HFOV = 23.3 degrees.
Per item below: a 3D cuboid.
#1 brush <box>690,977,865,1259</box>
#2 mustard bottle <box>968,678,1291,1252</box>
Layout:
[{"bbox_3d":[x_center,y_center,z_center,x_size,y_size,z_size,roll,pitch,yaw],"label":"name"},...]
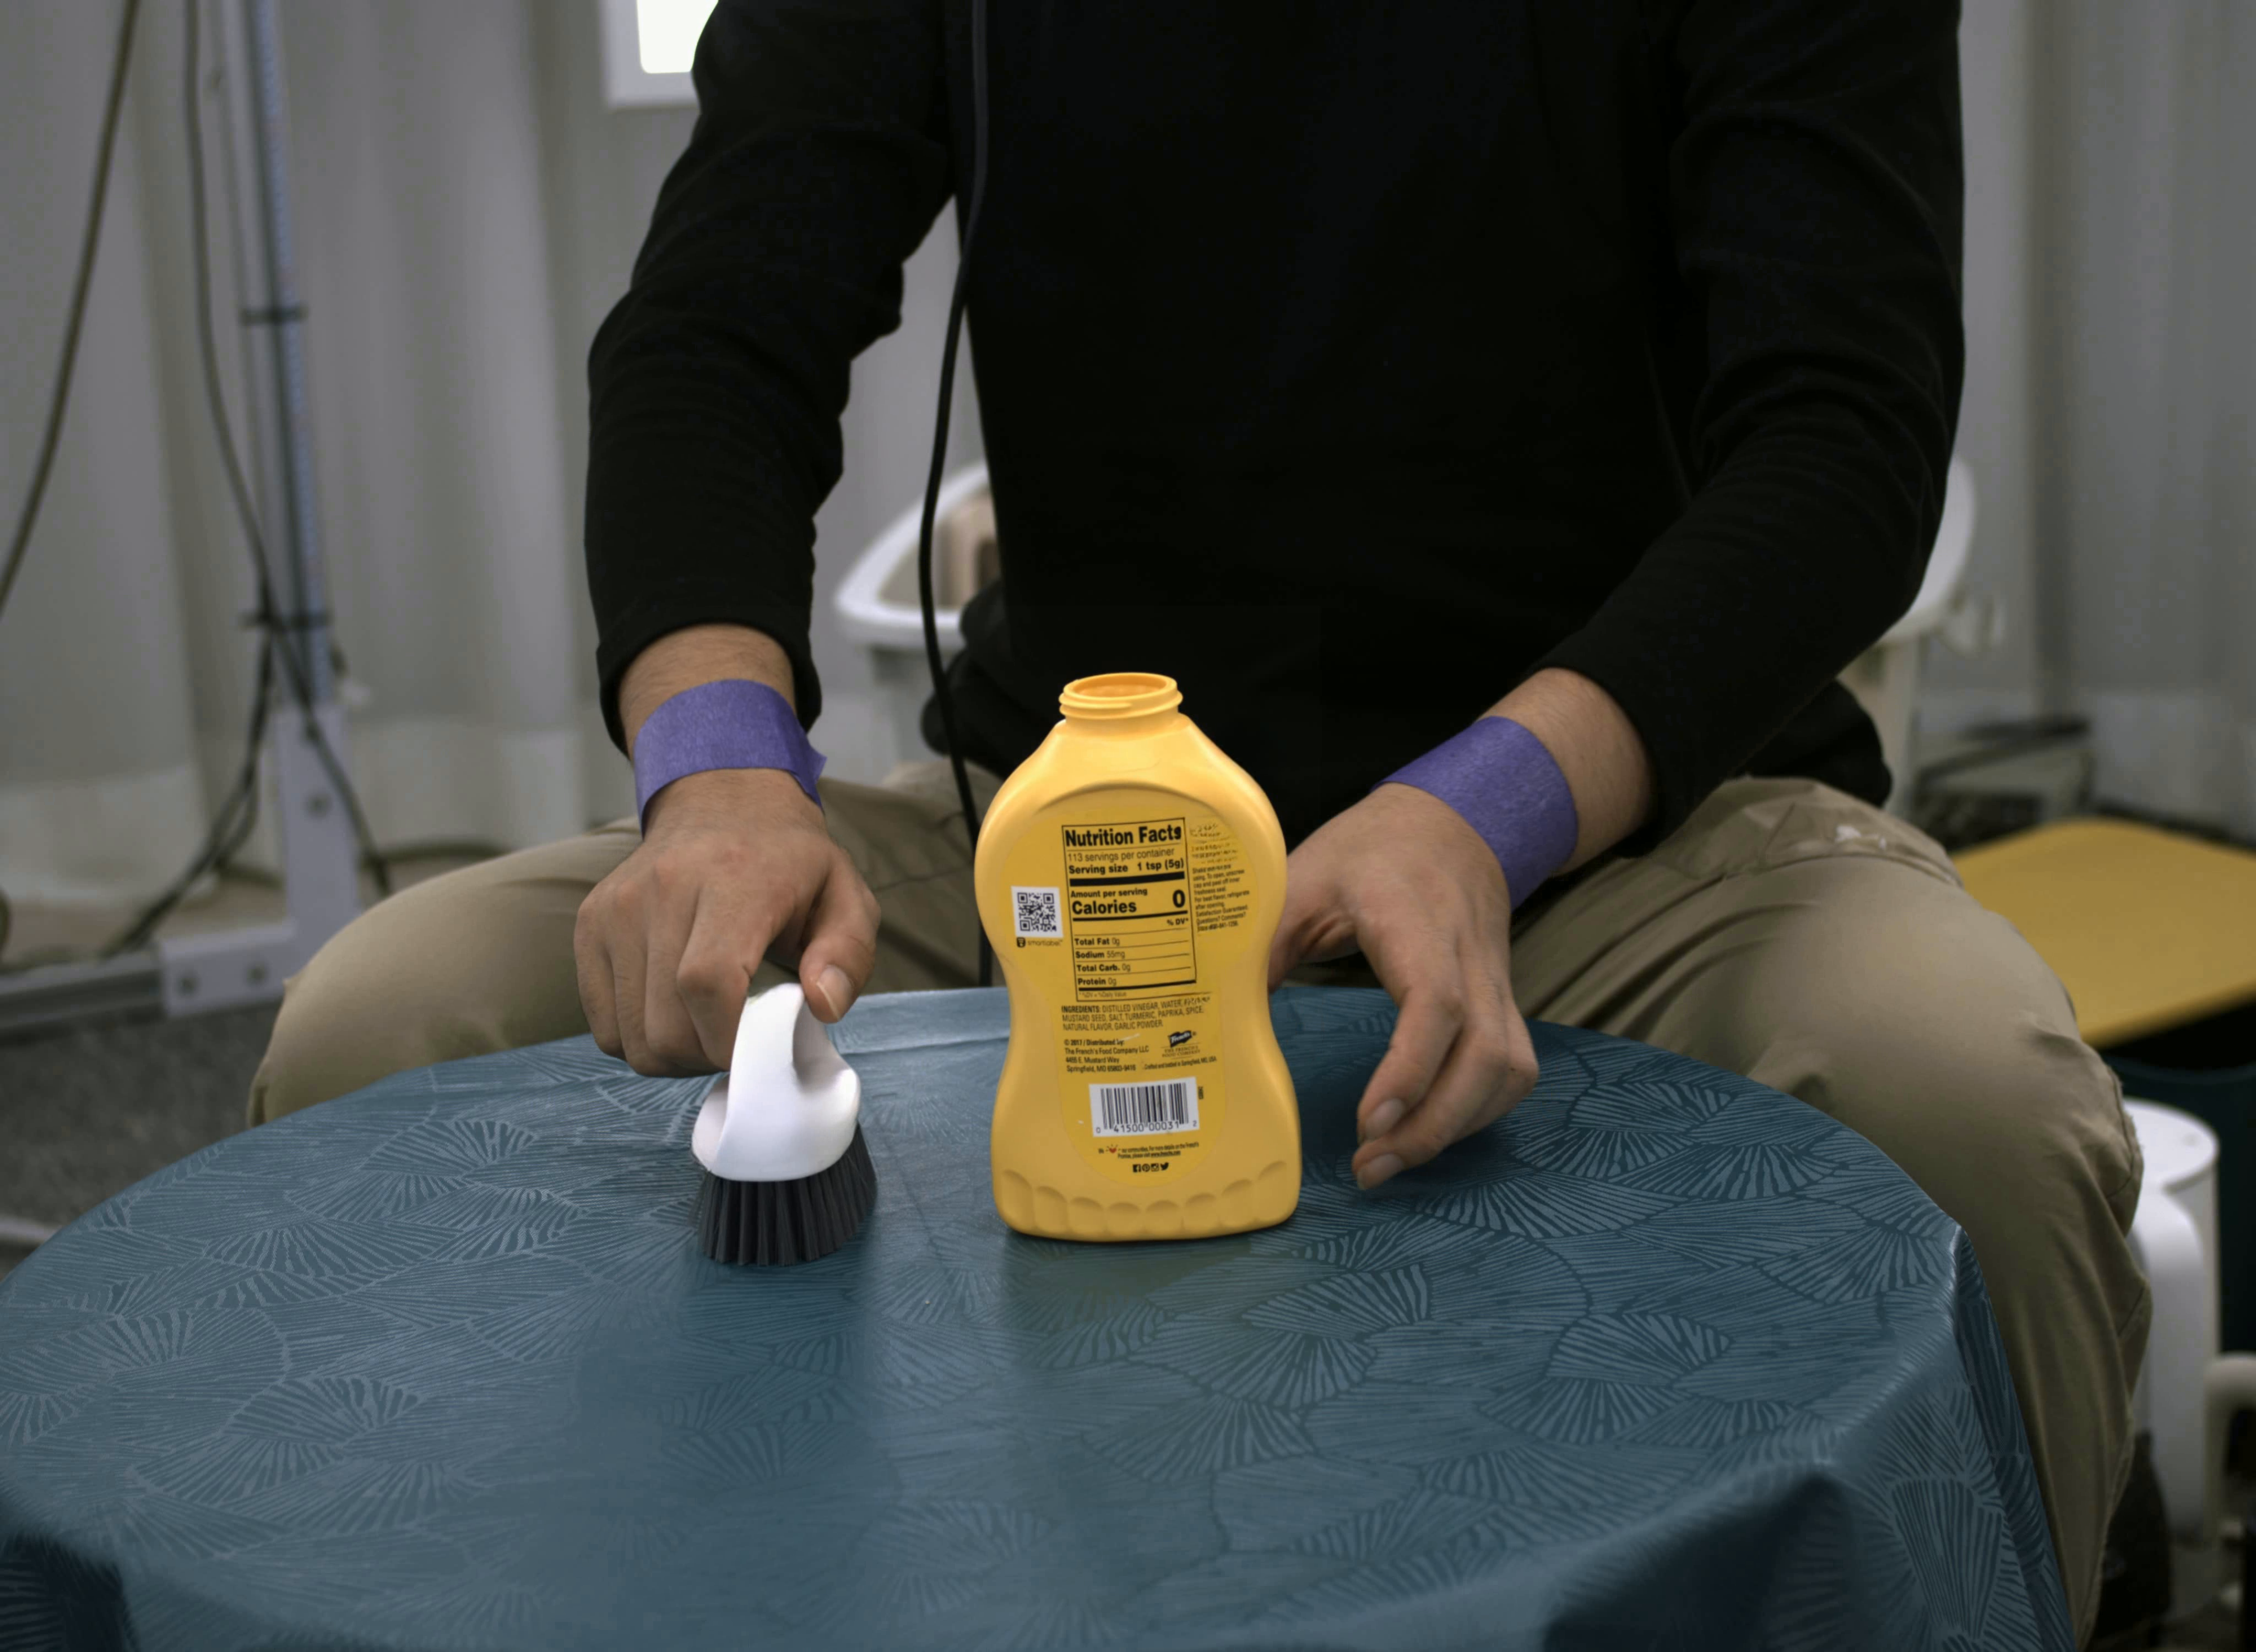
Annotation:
[{"bbox_3d":[-0.110,0.086,1.702,0.050,0.072,0.100,0,15,6],"label":"brush"},{"bbox_3d":[-0.001,0.042,1.668,0.098,0.171,0.059,-4,9,0],"label":"mustard bottle"}]
